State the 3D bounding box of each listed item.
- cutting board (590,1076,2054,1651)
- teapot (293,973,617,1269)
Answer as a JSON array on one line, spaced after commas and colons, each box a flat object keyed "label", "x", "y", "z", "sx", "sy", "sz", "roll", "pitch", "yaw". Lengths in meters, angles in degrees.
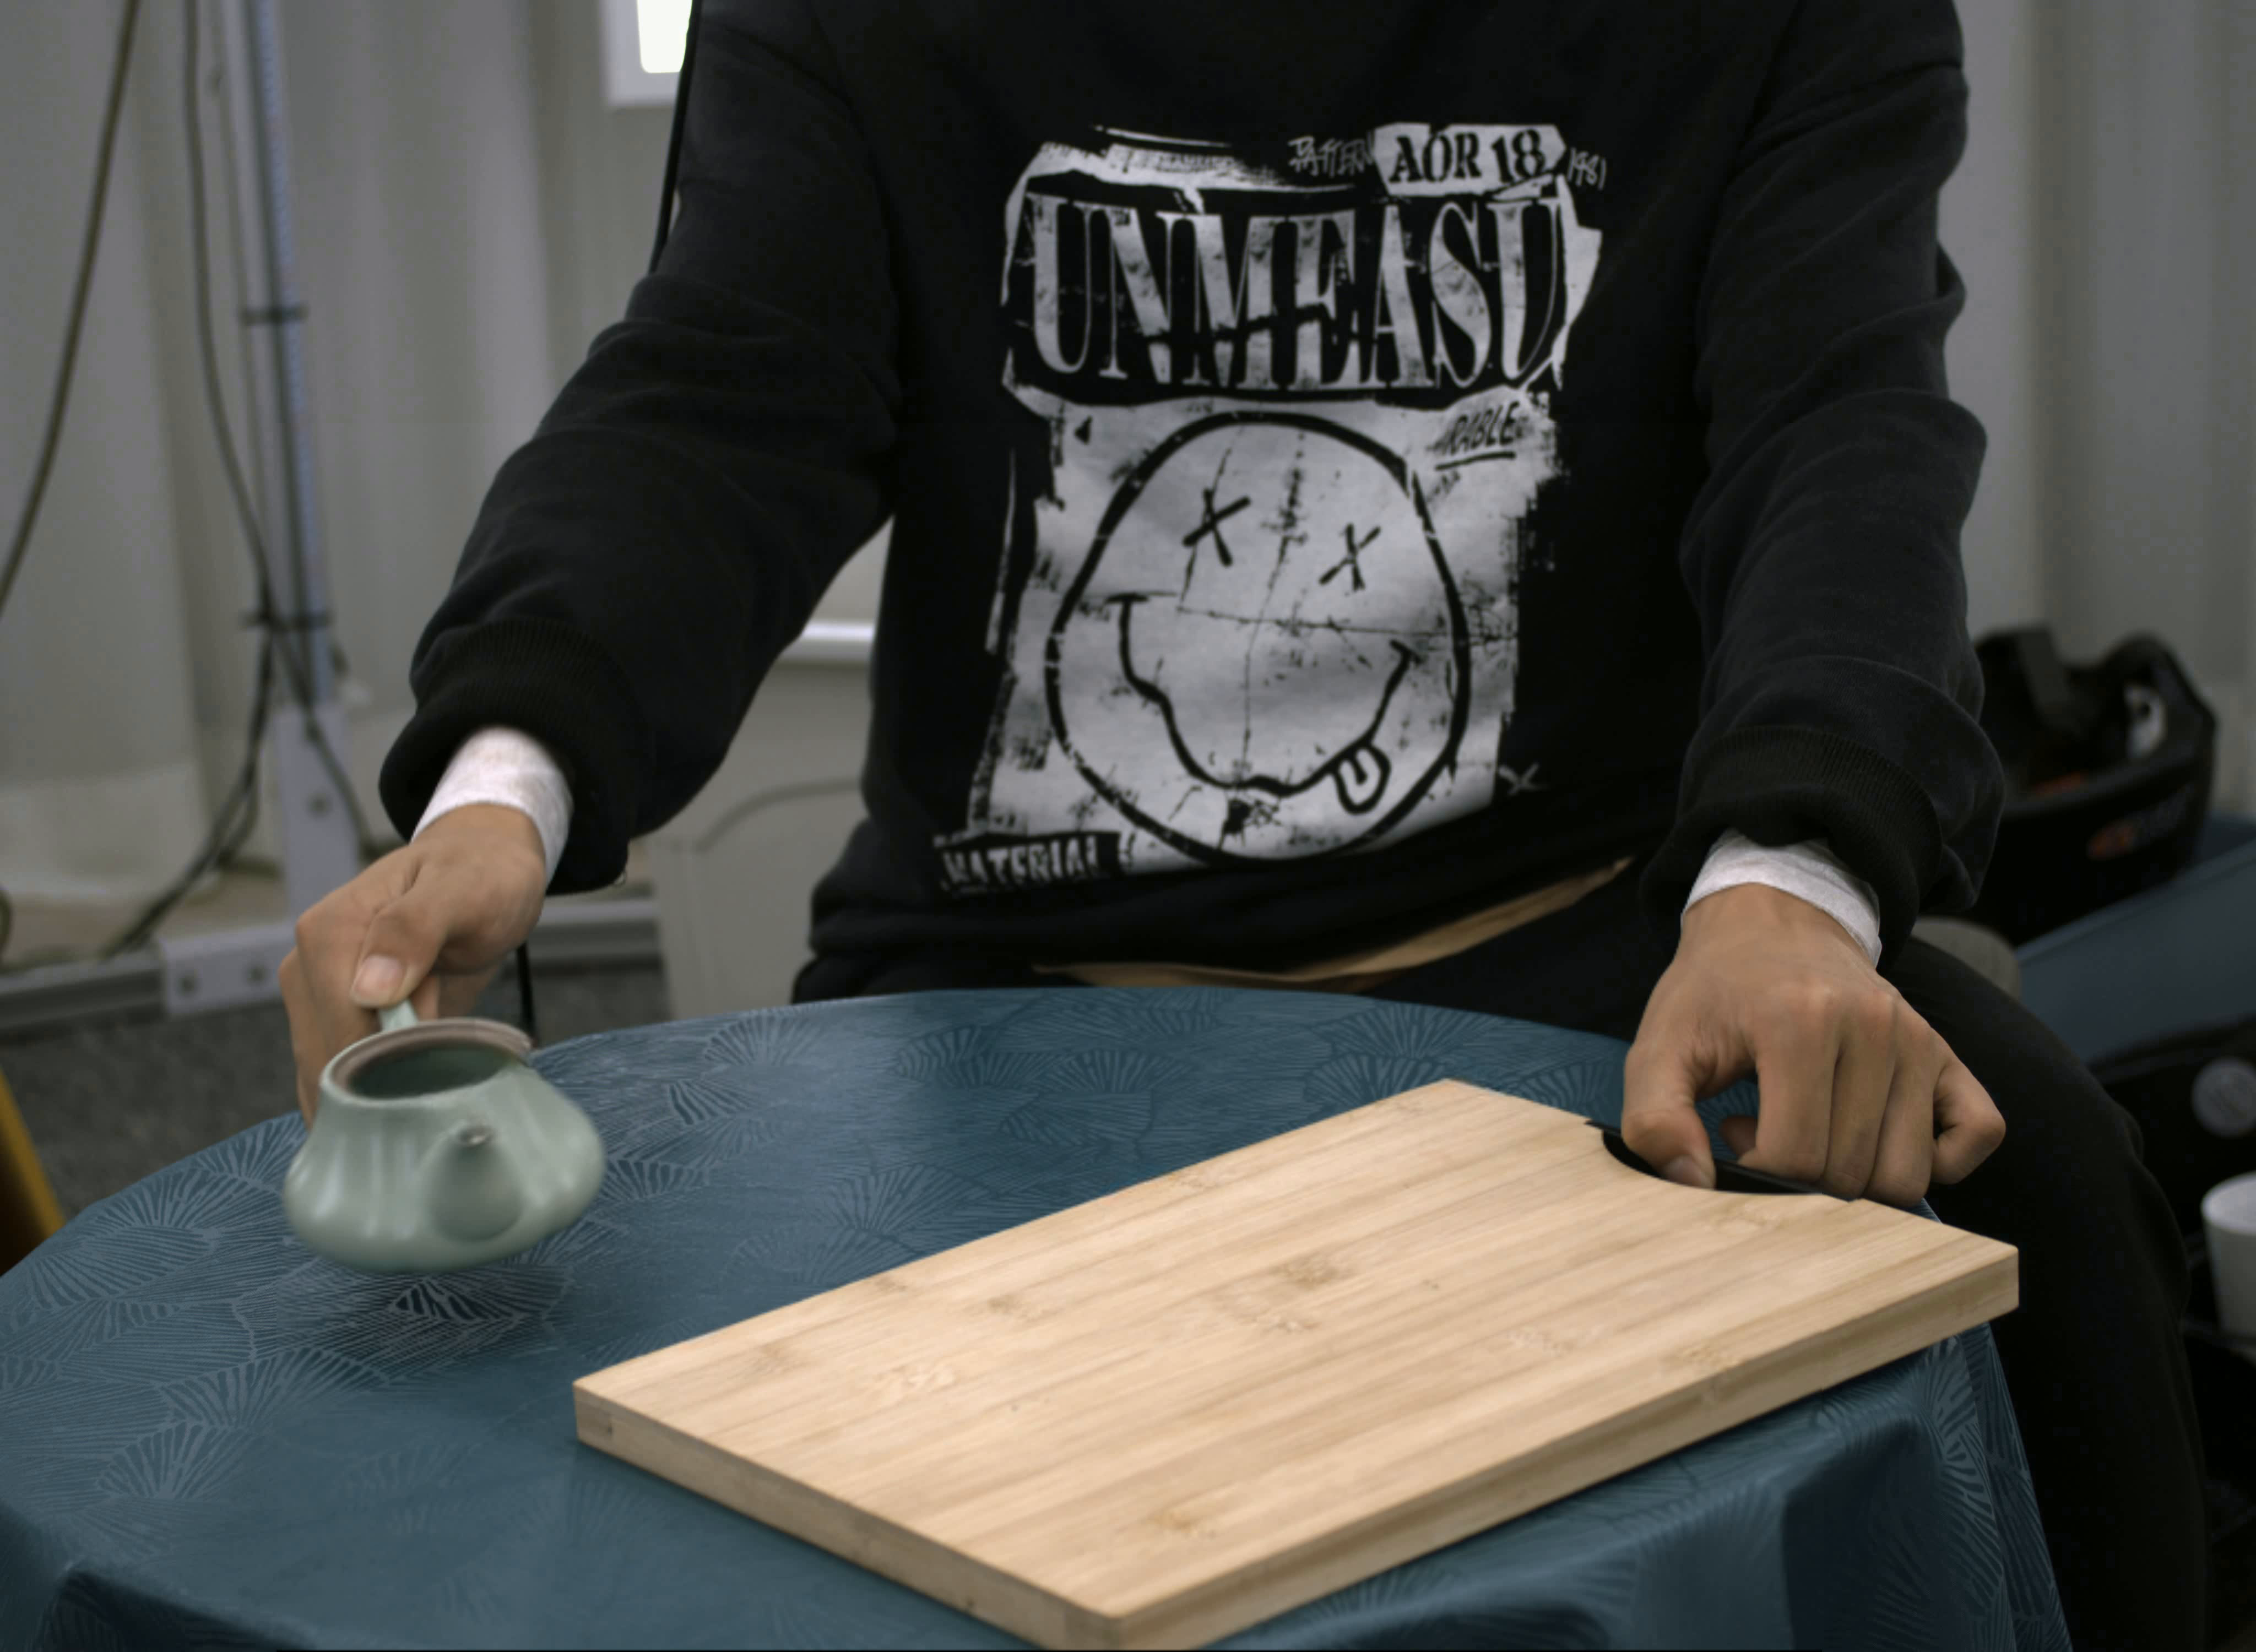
[{"label": "cutting board", "x": 0.054, "y": 0.146, "z": 1.542, "sx": 0.348, "sy": 0.023, "sz": 0.252, "roll": -17, "pitch": 20, "yaw": -38}, {"label": "teapot", "x": -0.203, "y": 0.090, "z": 1.625, "sx": 0.096, "sy": 0.061, "sz": 0.138, "roll": -16, "pitch": 24, "yaw": -20}]
